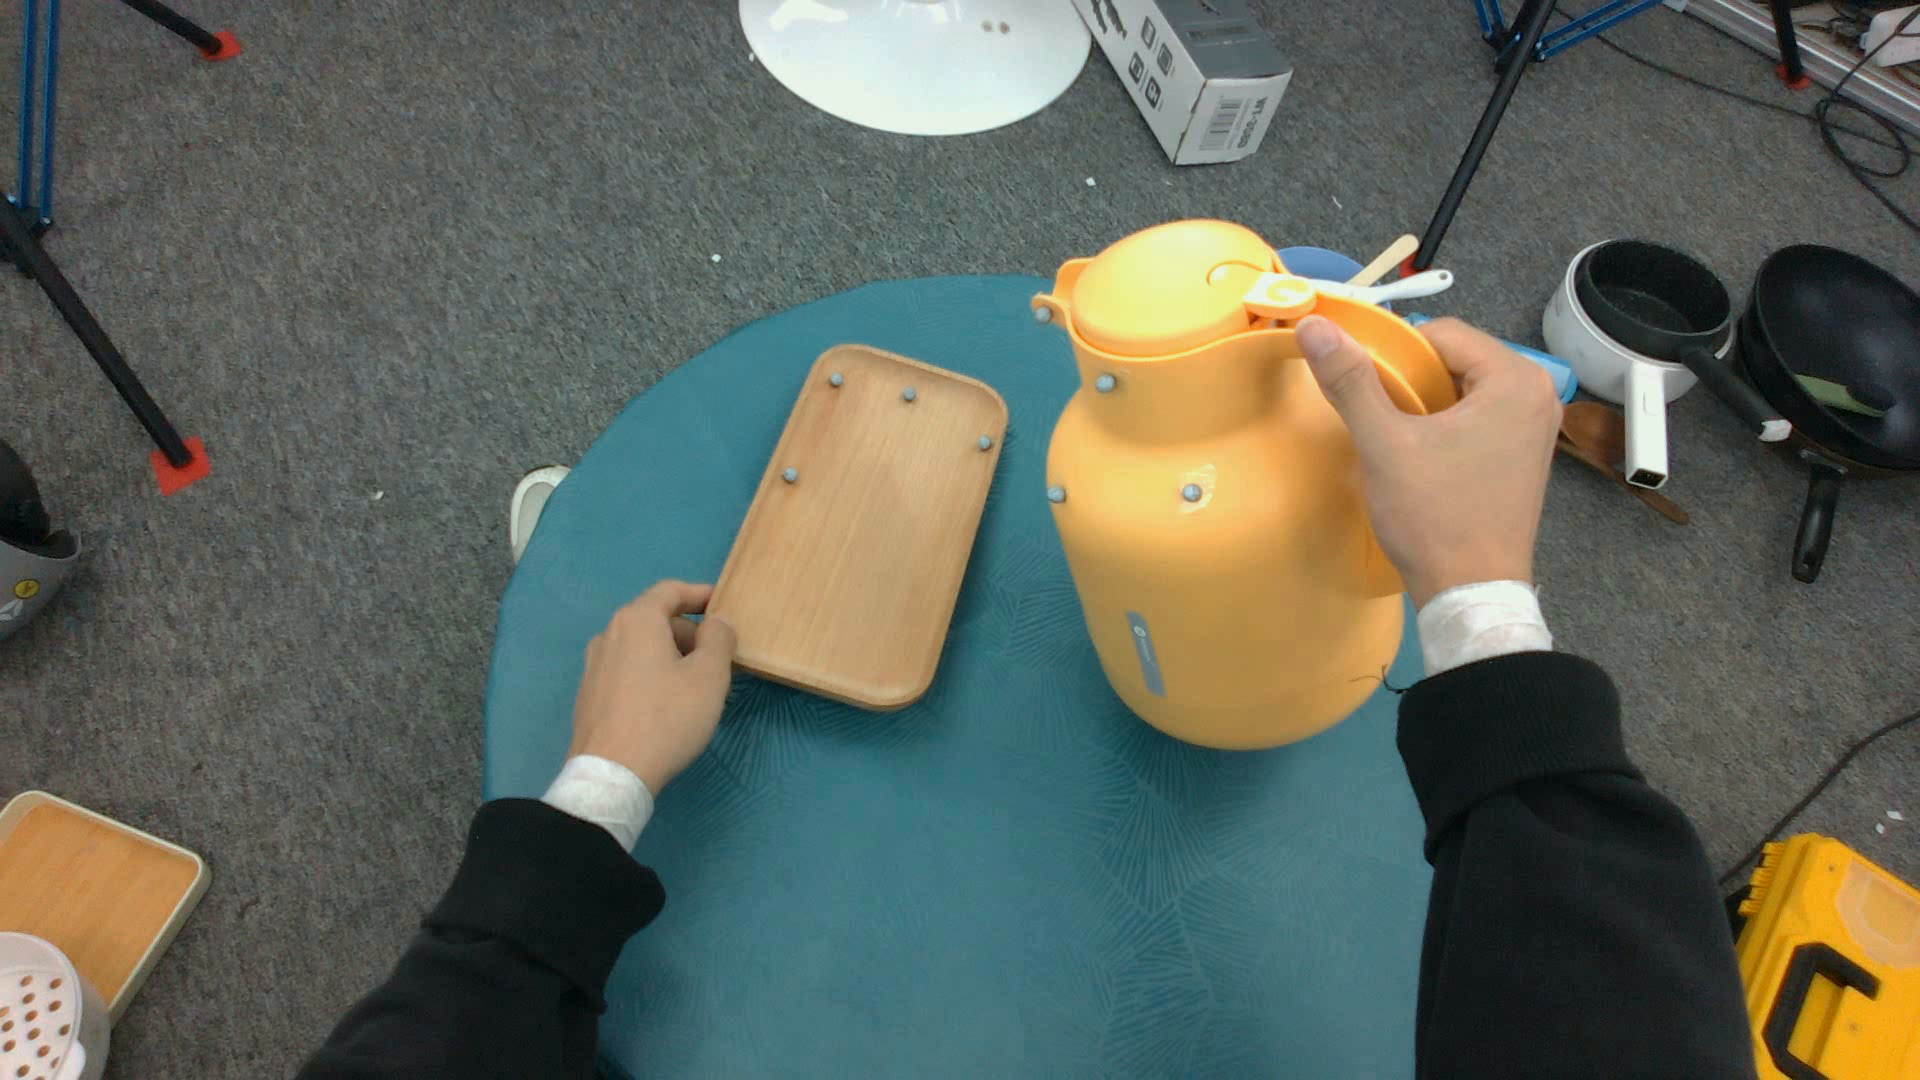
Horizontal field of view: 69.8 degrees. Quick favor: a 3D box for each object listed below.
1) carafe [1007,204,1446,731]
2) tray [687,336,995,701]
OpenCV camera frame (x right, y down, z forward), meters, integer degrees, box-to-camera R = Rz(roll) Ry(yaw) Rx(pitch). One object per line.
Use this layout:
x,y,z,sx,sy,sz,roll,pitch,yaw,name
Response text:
0.132,-0.031,0.664,0.202,0.259,0.164,15,55,38,carafe
-0.062,-0.021,0.796,0.130,0.023,0.252,15,51,2,tray
